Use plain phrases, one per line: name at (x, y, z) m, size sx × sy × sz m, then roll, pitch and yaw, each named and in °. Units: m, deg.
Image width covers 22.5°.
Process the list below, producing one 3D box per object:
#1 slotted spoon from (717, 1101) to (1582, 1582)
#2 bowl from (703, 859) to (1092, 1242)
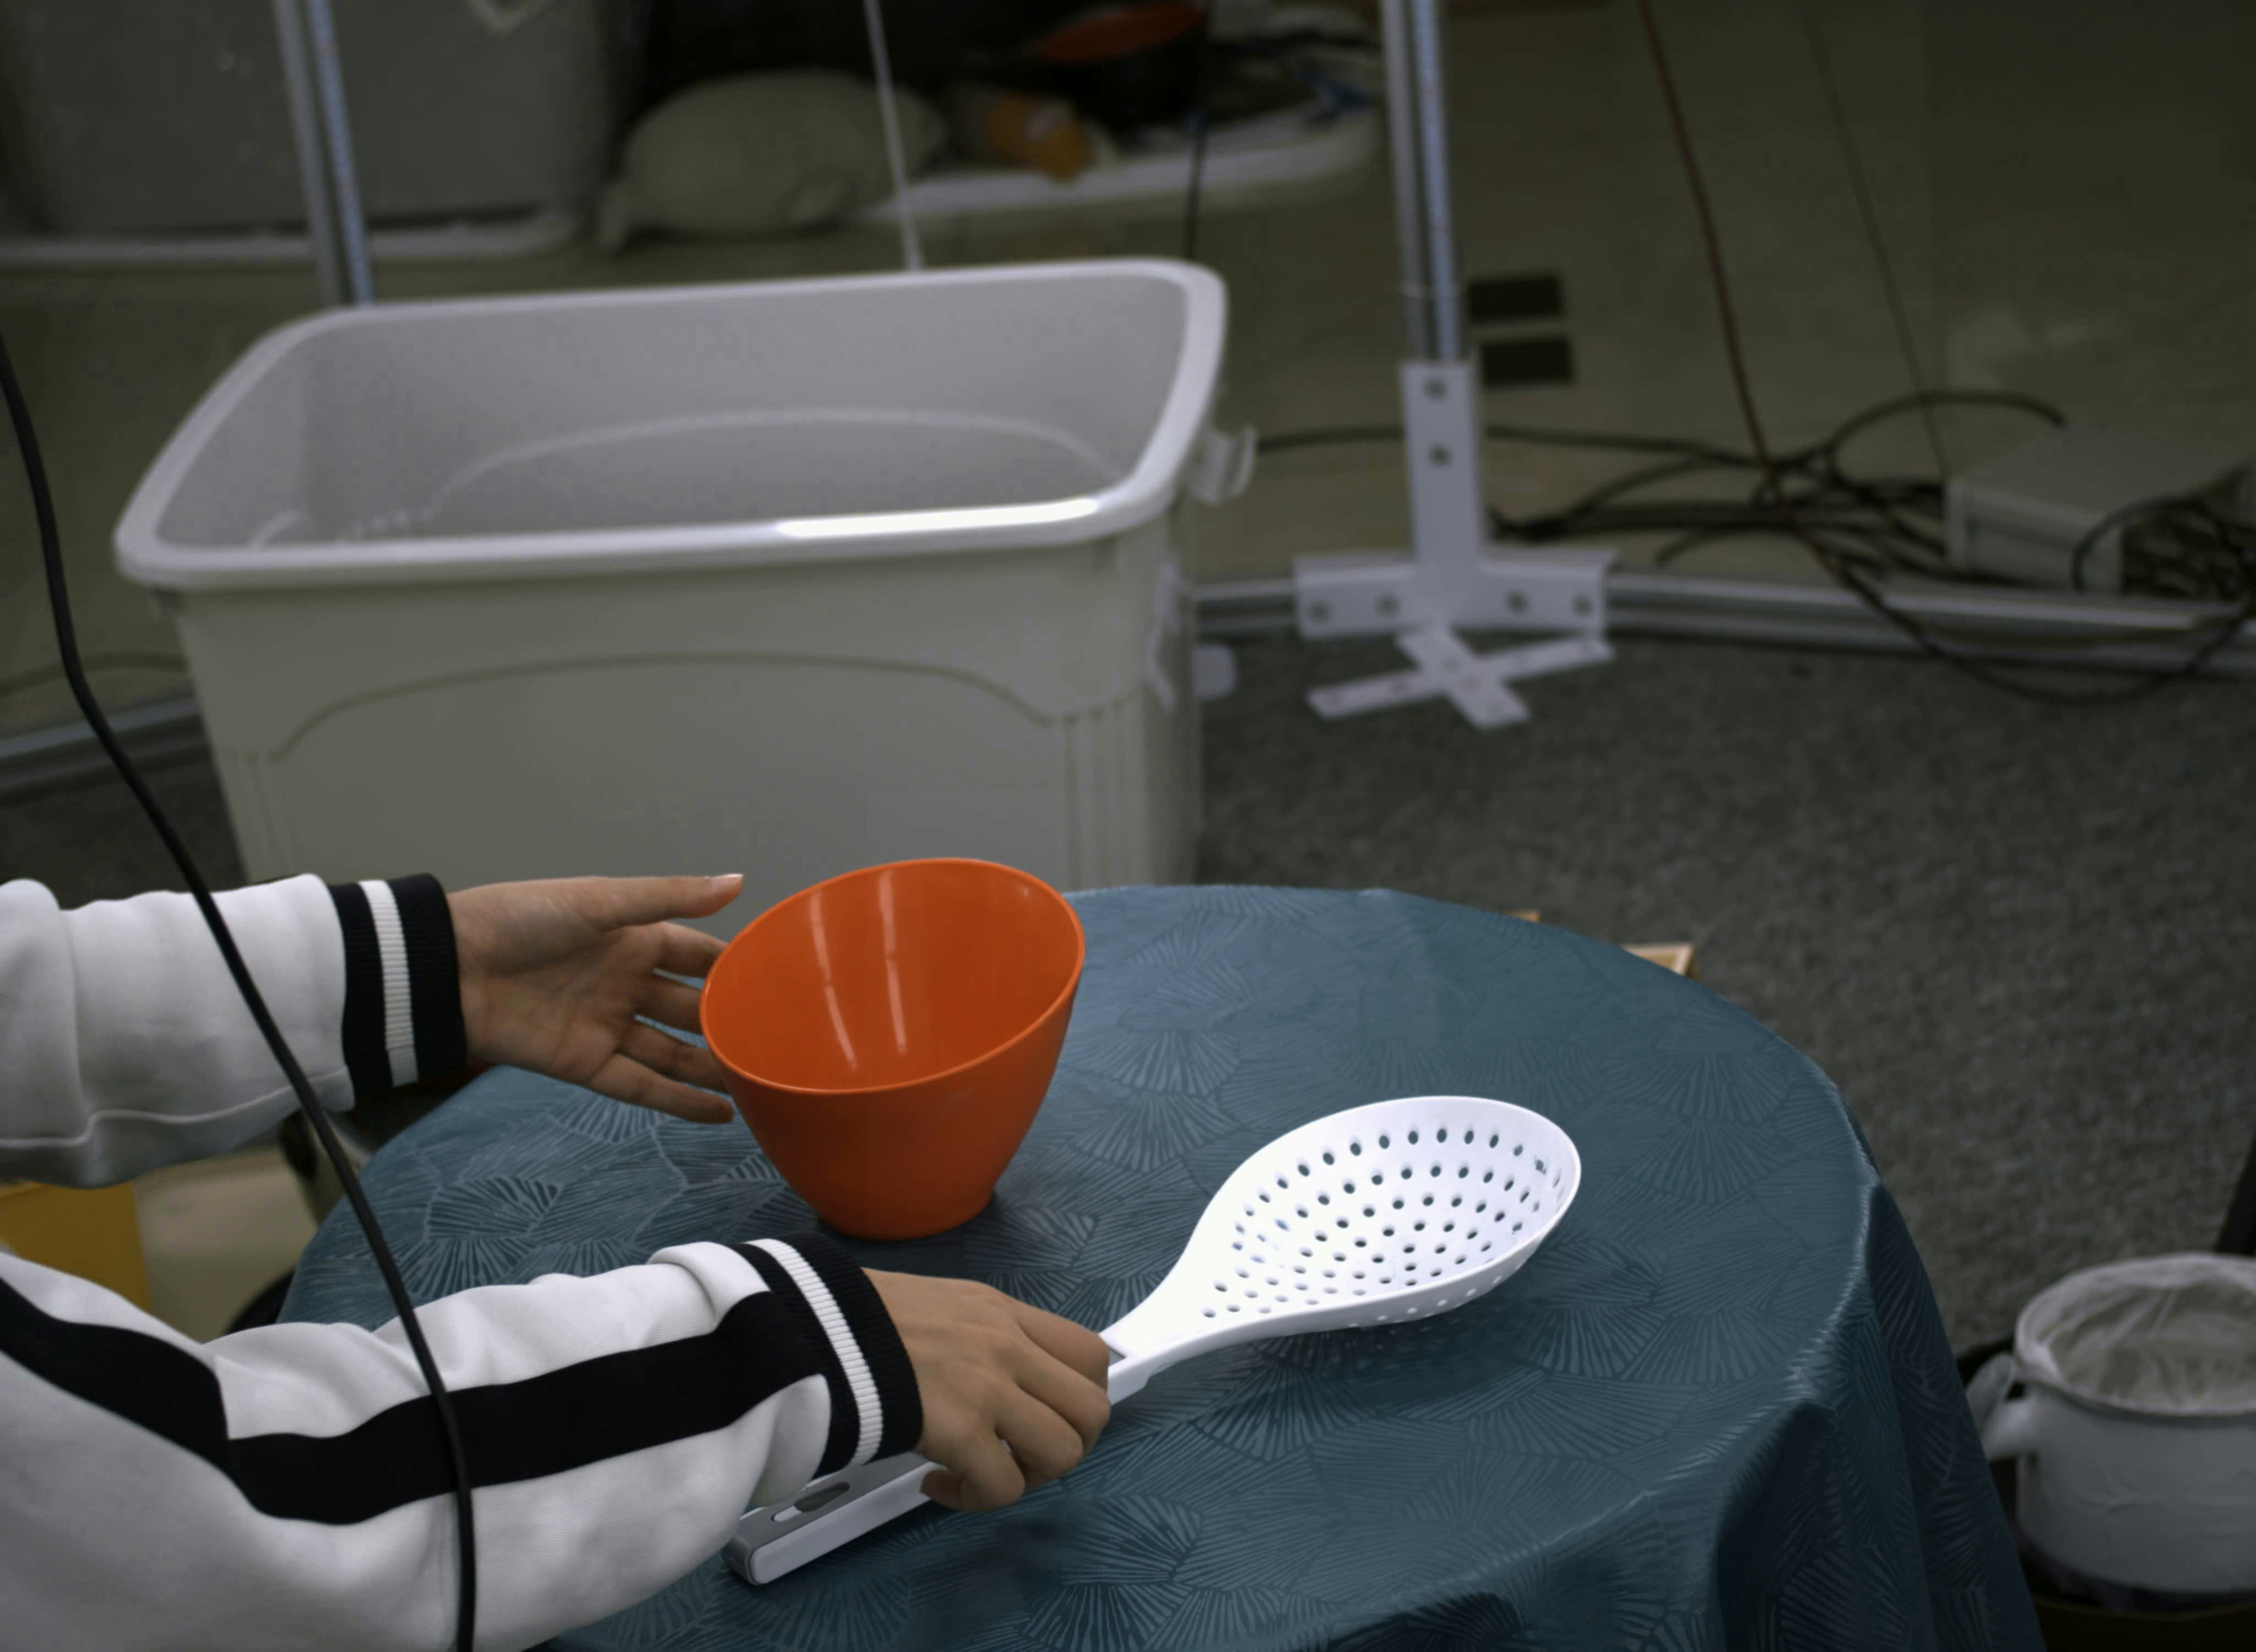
slotted spoon at (0.009, 0.182, 2.000) m, size 0.347 × 0.046 × 0.135 m, roll -21°, pitch 27°, yaw -27°
bowl at (-0.085, 0.092, 2.147) m, size 0.148 × 0.106 × 0.146 m, roll -3°, pitch 28°, yaw 2°
